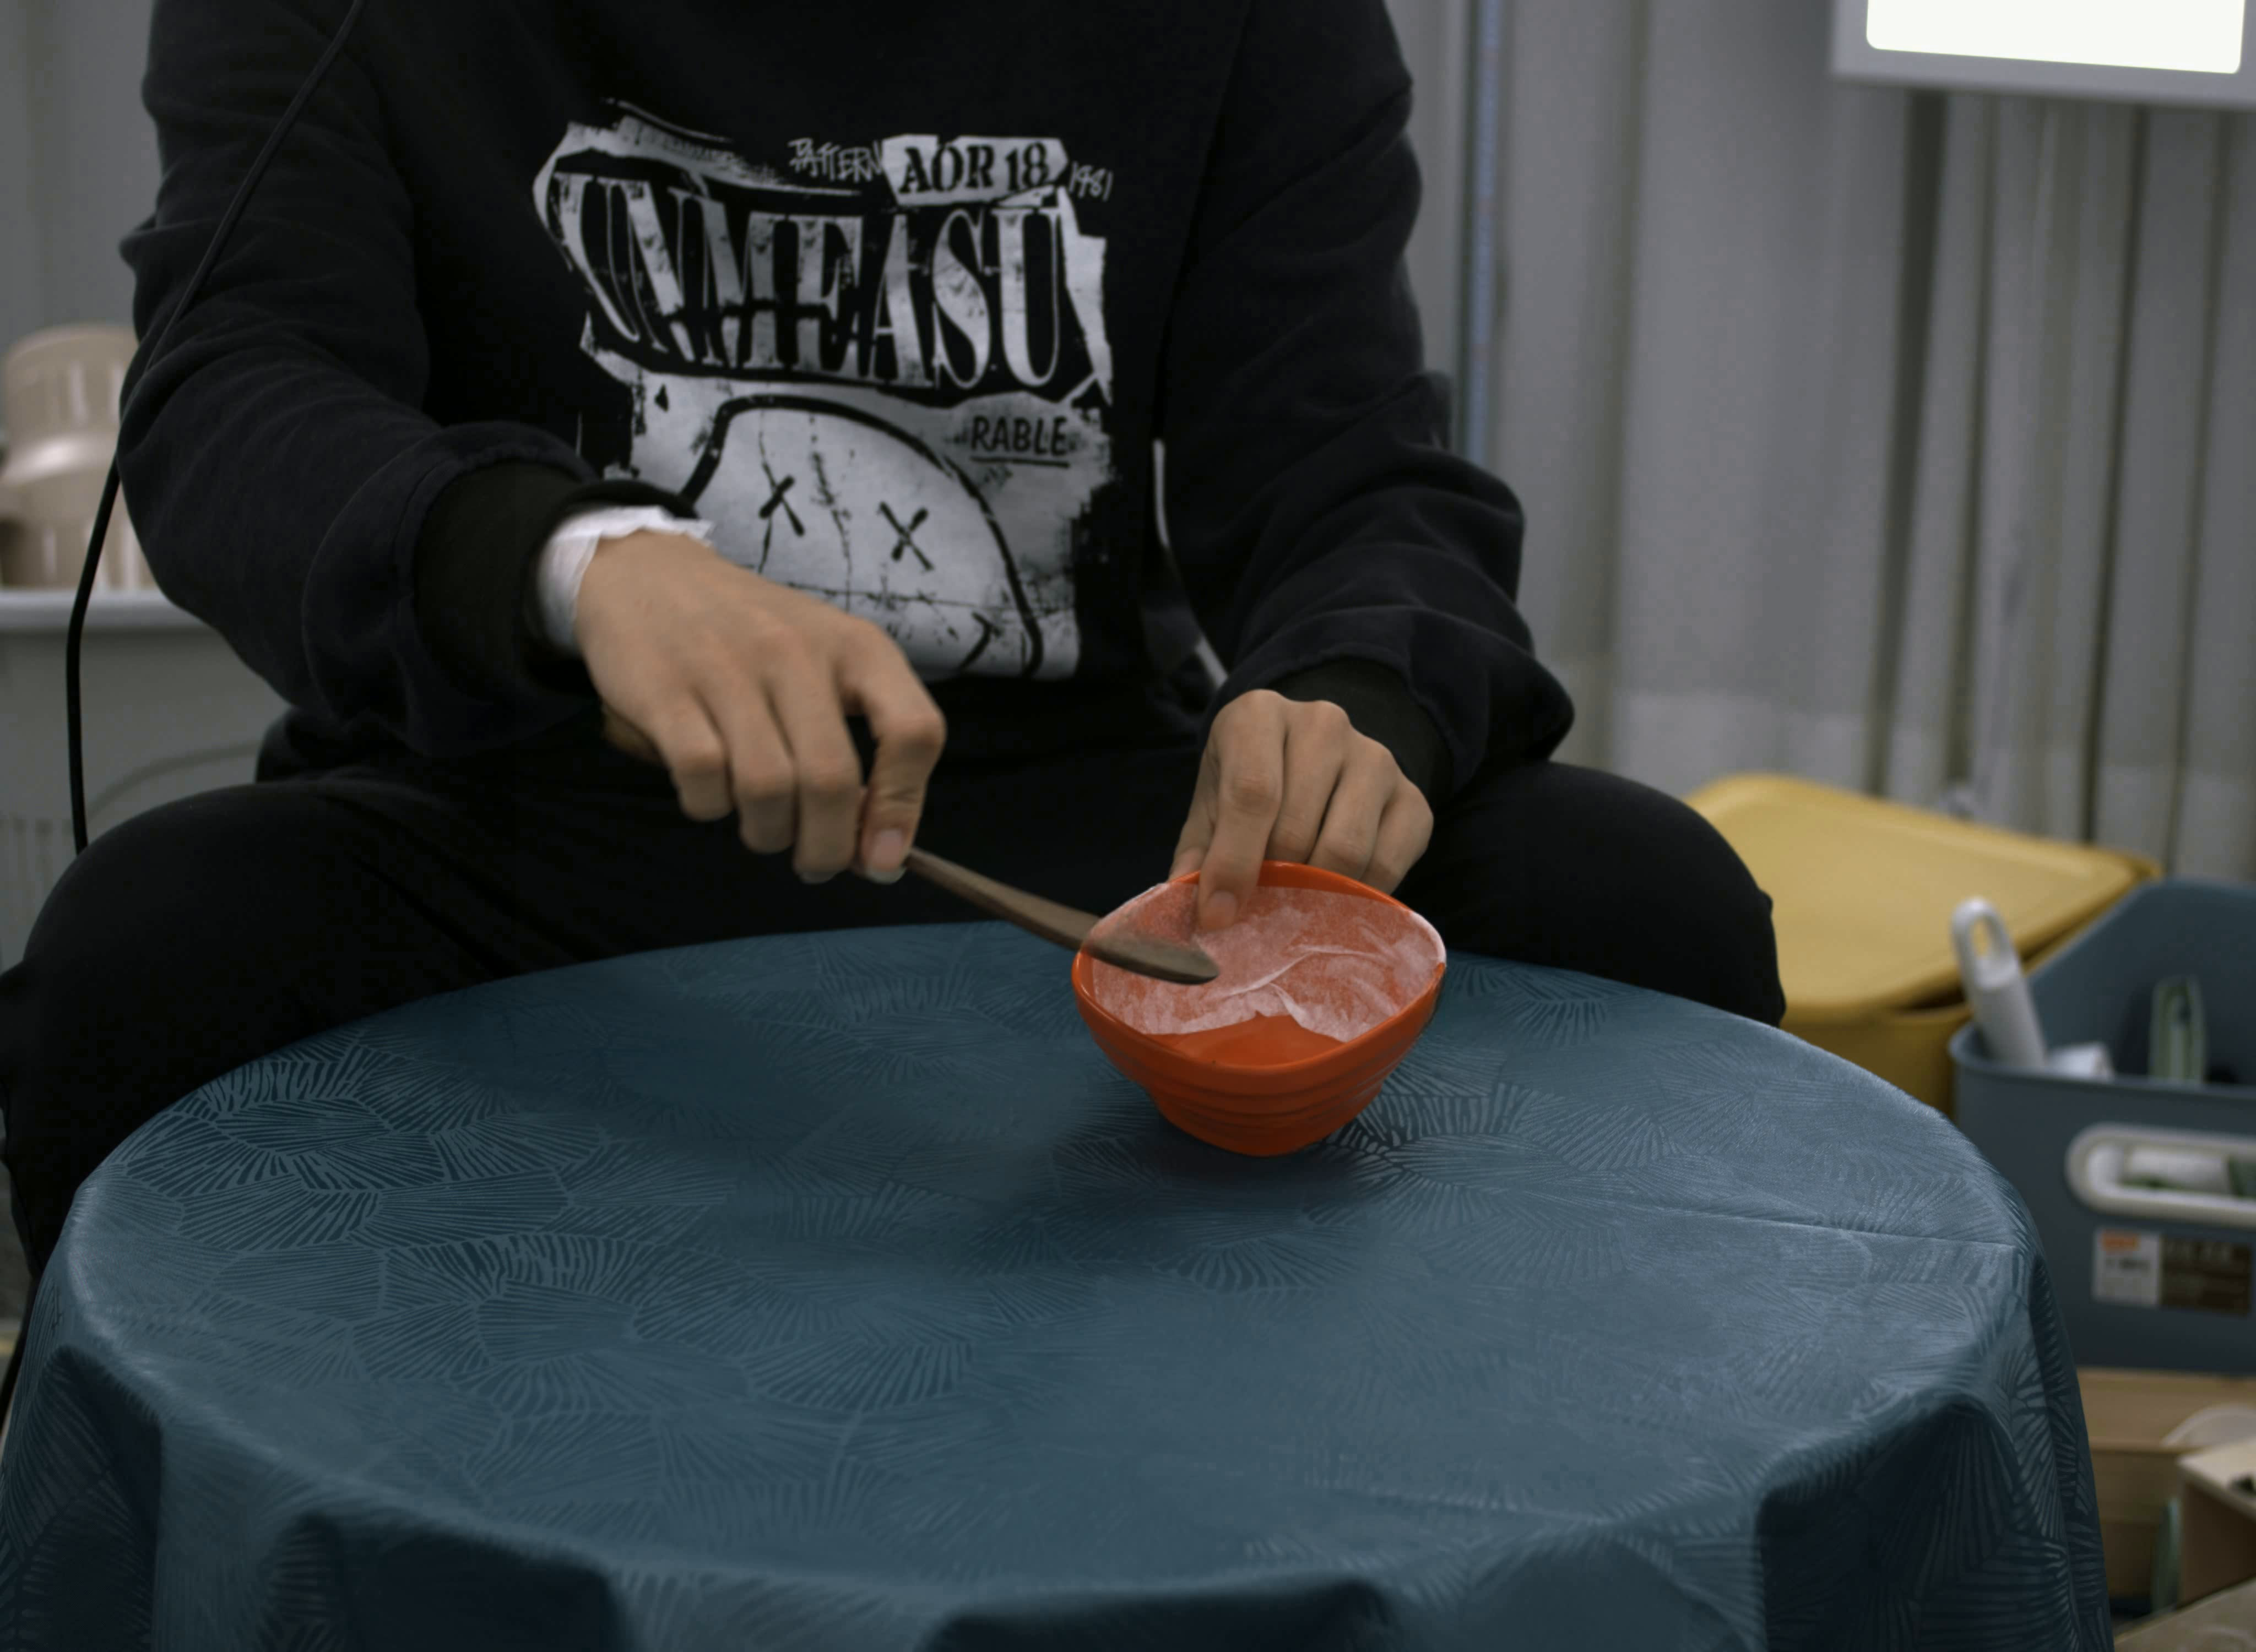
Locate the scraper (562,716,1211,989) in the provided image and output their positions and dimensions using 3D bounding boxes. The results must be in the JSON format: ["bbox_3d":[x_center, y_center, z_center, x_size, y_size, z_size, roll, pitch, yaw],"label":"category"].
[{"bbox_3d":[-0.074,0.009,1.597,0.211,0.011,0.075,23,5,-3],"label":"scraper"}]

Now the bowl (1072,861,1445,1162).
[{"bbox_3d":[0.043,0.064,1.676,0.118,0.052,0.118,-2,34,2],"label":"bowl"}]
